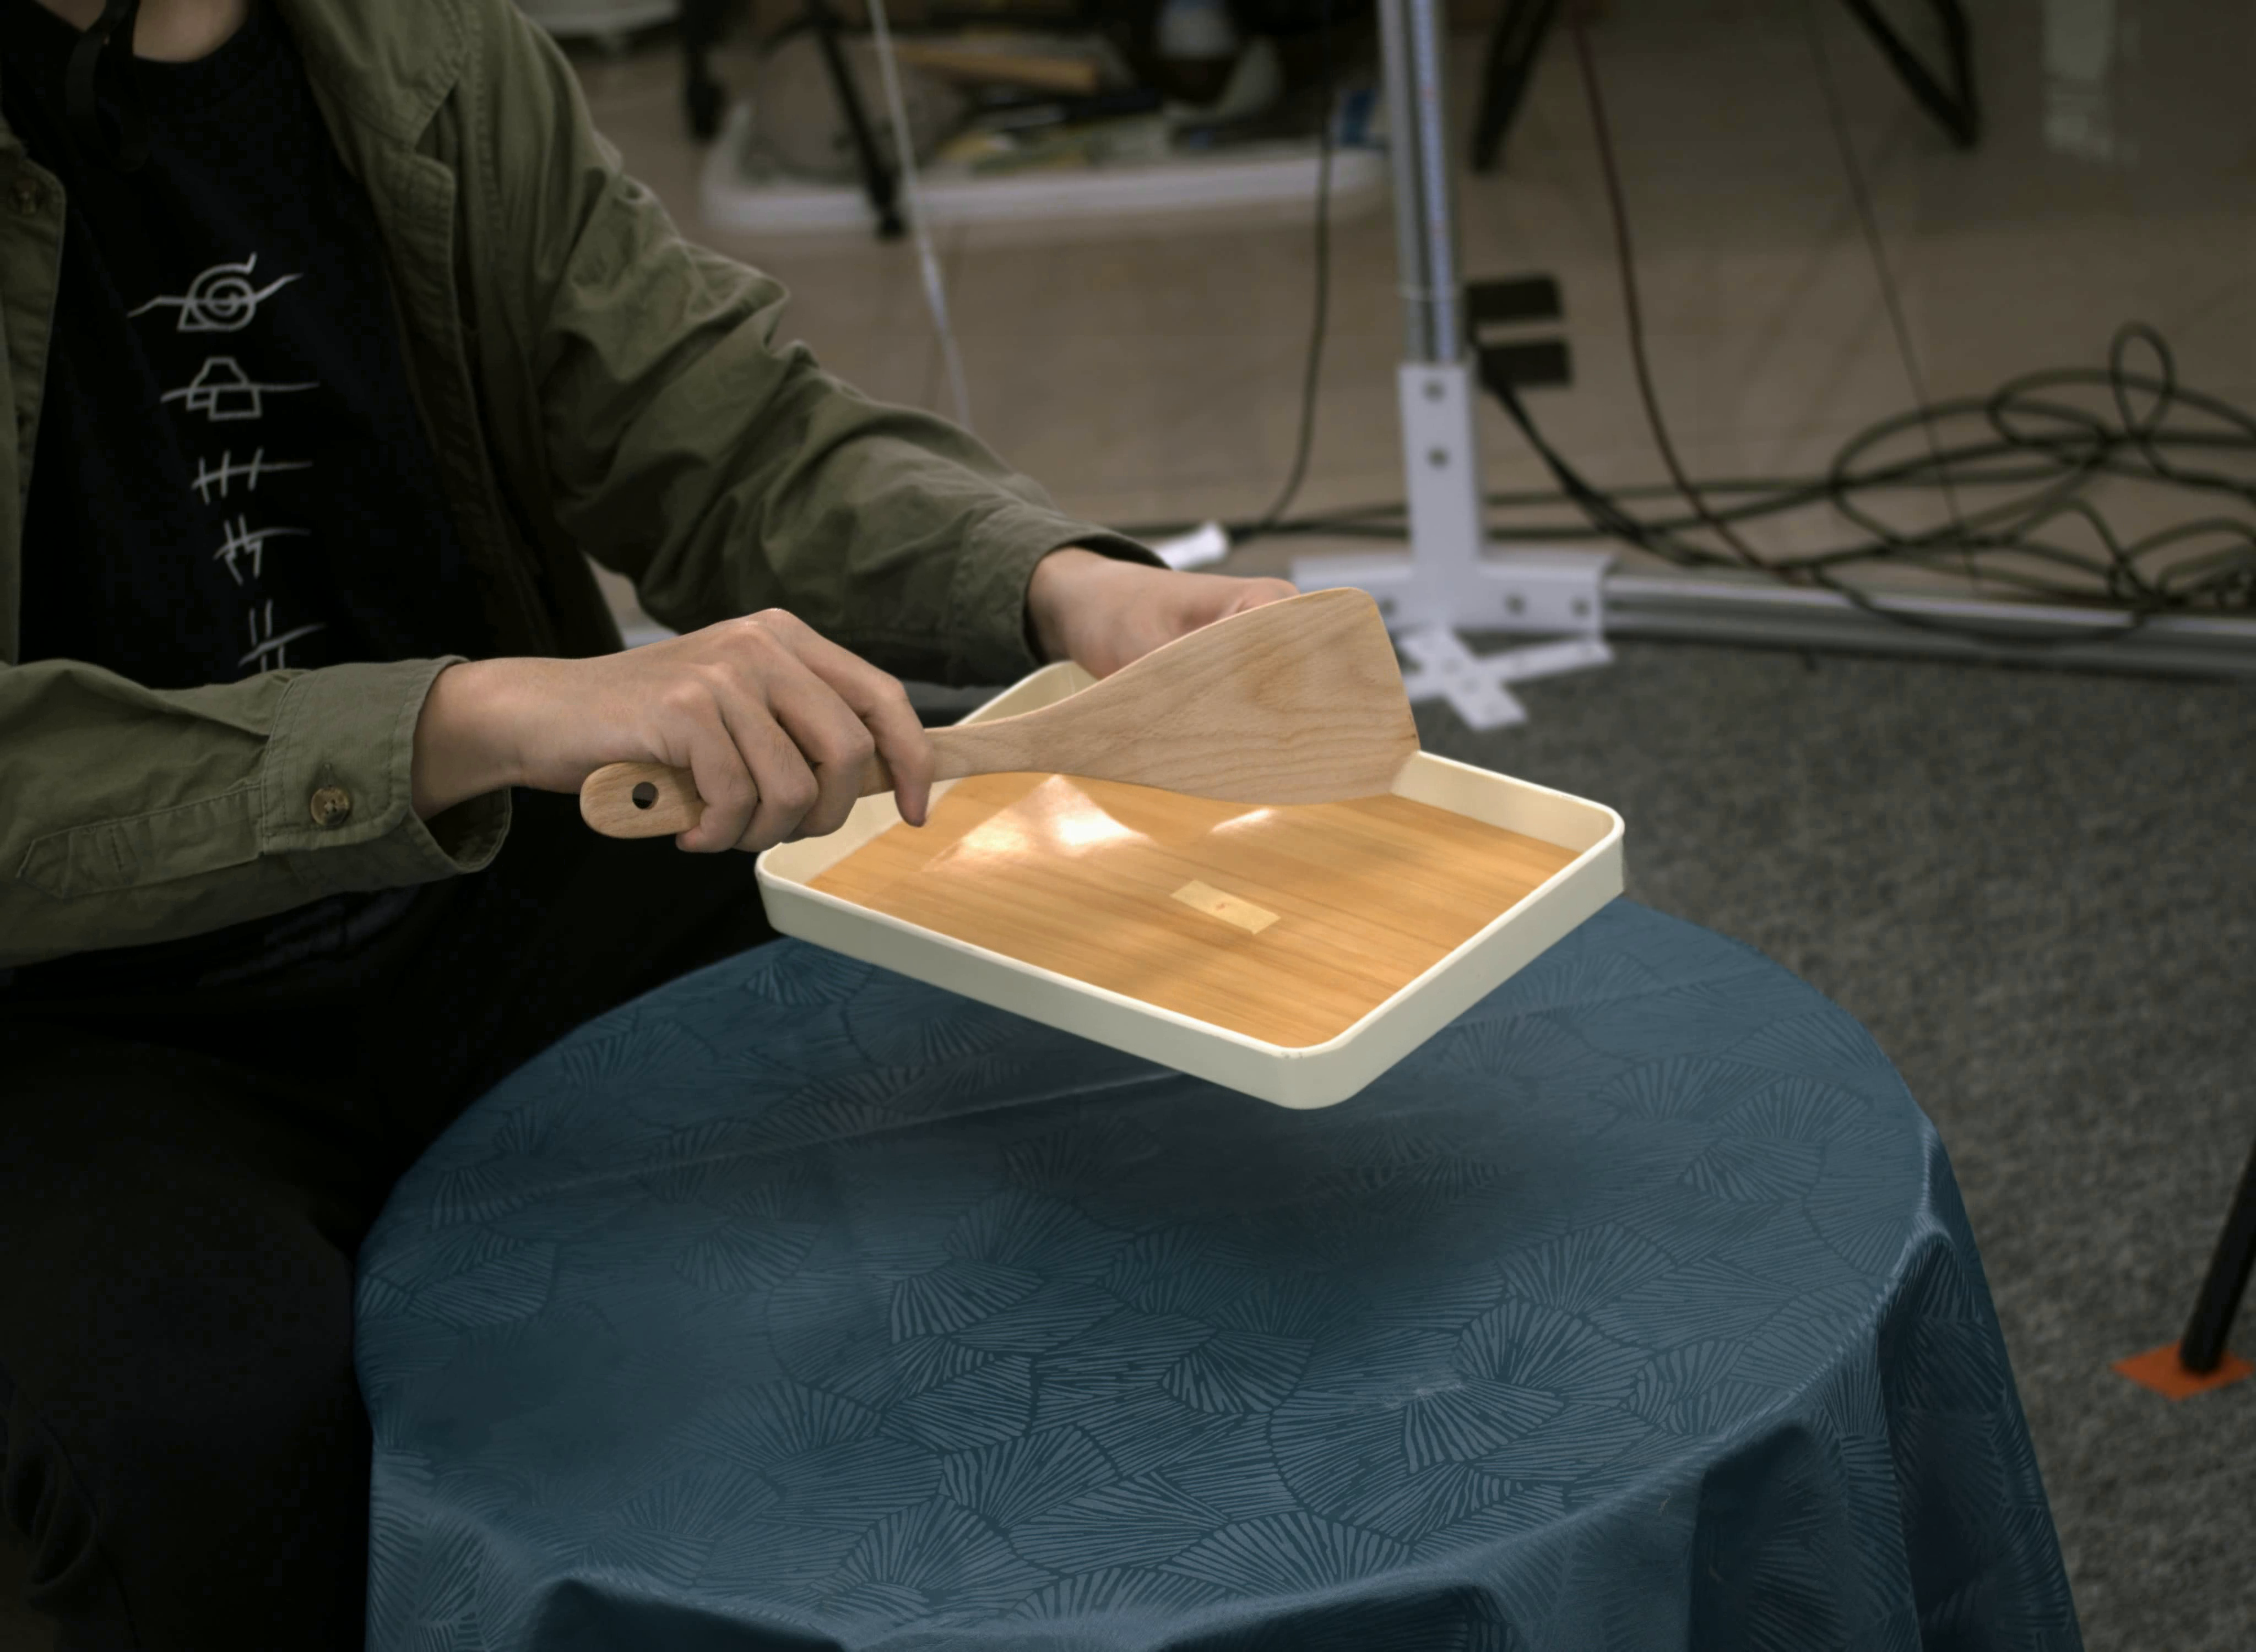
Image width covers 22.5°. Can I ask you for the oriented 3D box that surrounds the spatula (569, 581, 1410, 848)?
[{"bbox_3d":[-0.047,-0.030,2.037,0.326,0.080,0.016,-10,10,-25],"label":"spatula"}]

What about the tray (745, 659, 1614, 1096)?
[{"bbox_3d":[0.017,0.015,2.142,0.298,0.028,0.190,17,39,42],"label":"tray"}]
